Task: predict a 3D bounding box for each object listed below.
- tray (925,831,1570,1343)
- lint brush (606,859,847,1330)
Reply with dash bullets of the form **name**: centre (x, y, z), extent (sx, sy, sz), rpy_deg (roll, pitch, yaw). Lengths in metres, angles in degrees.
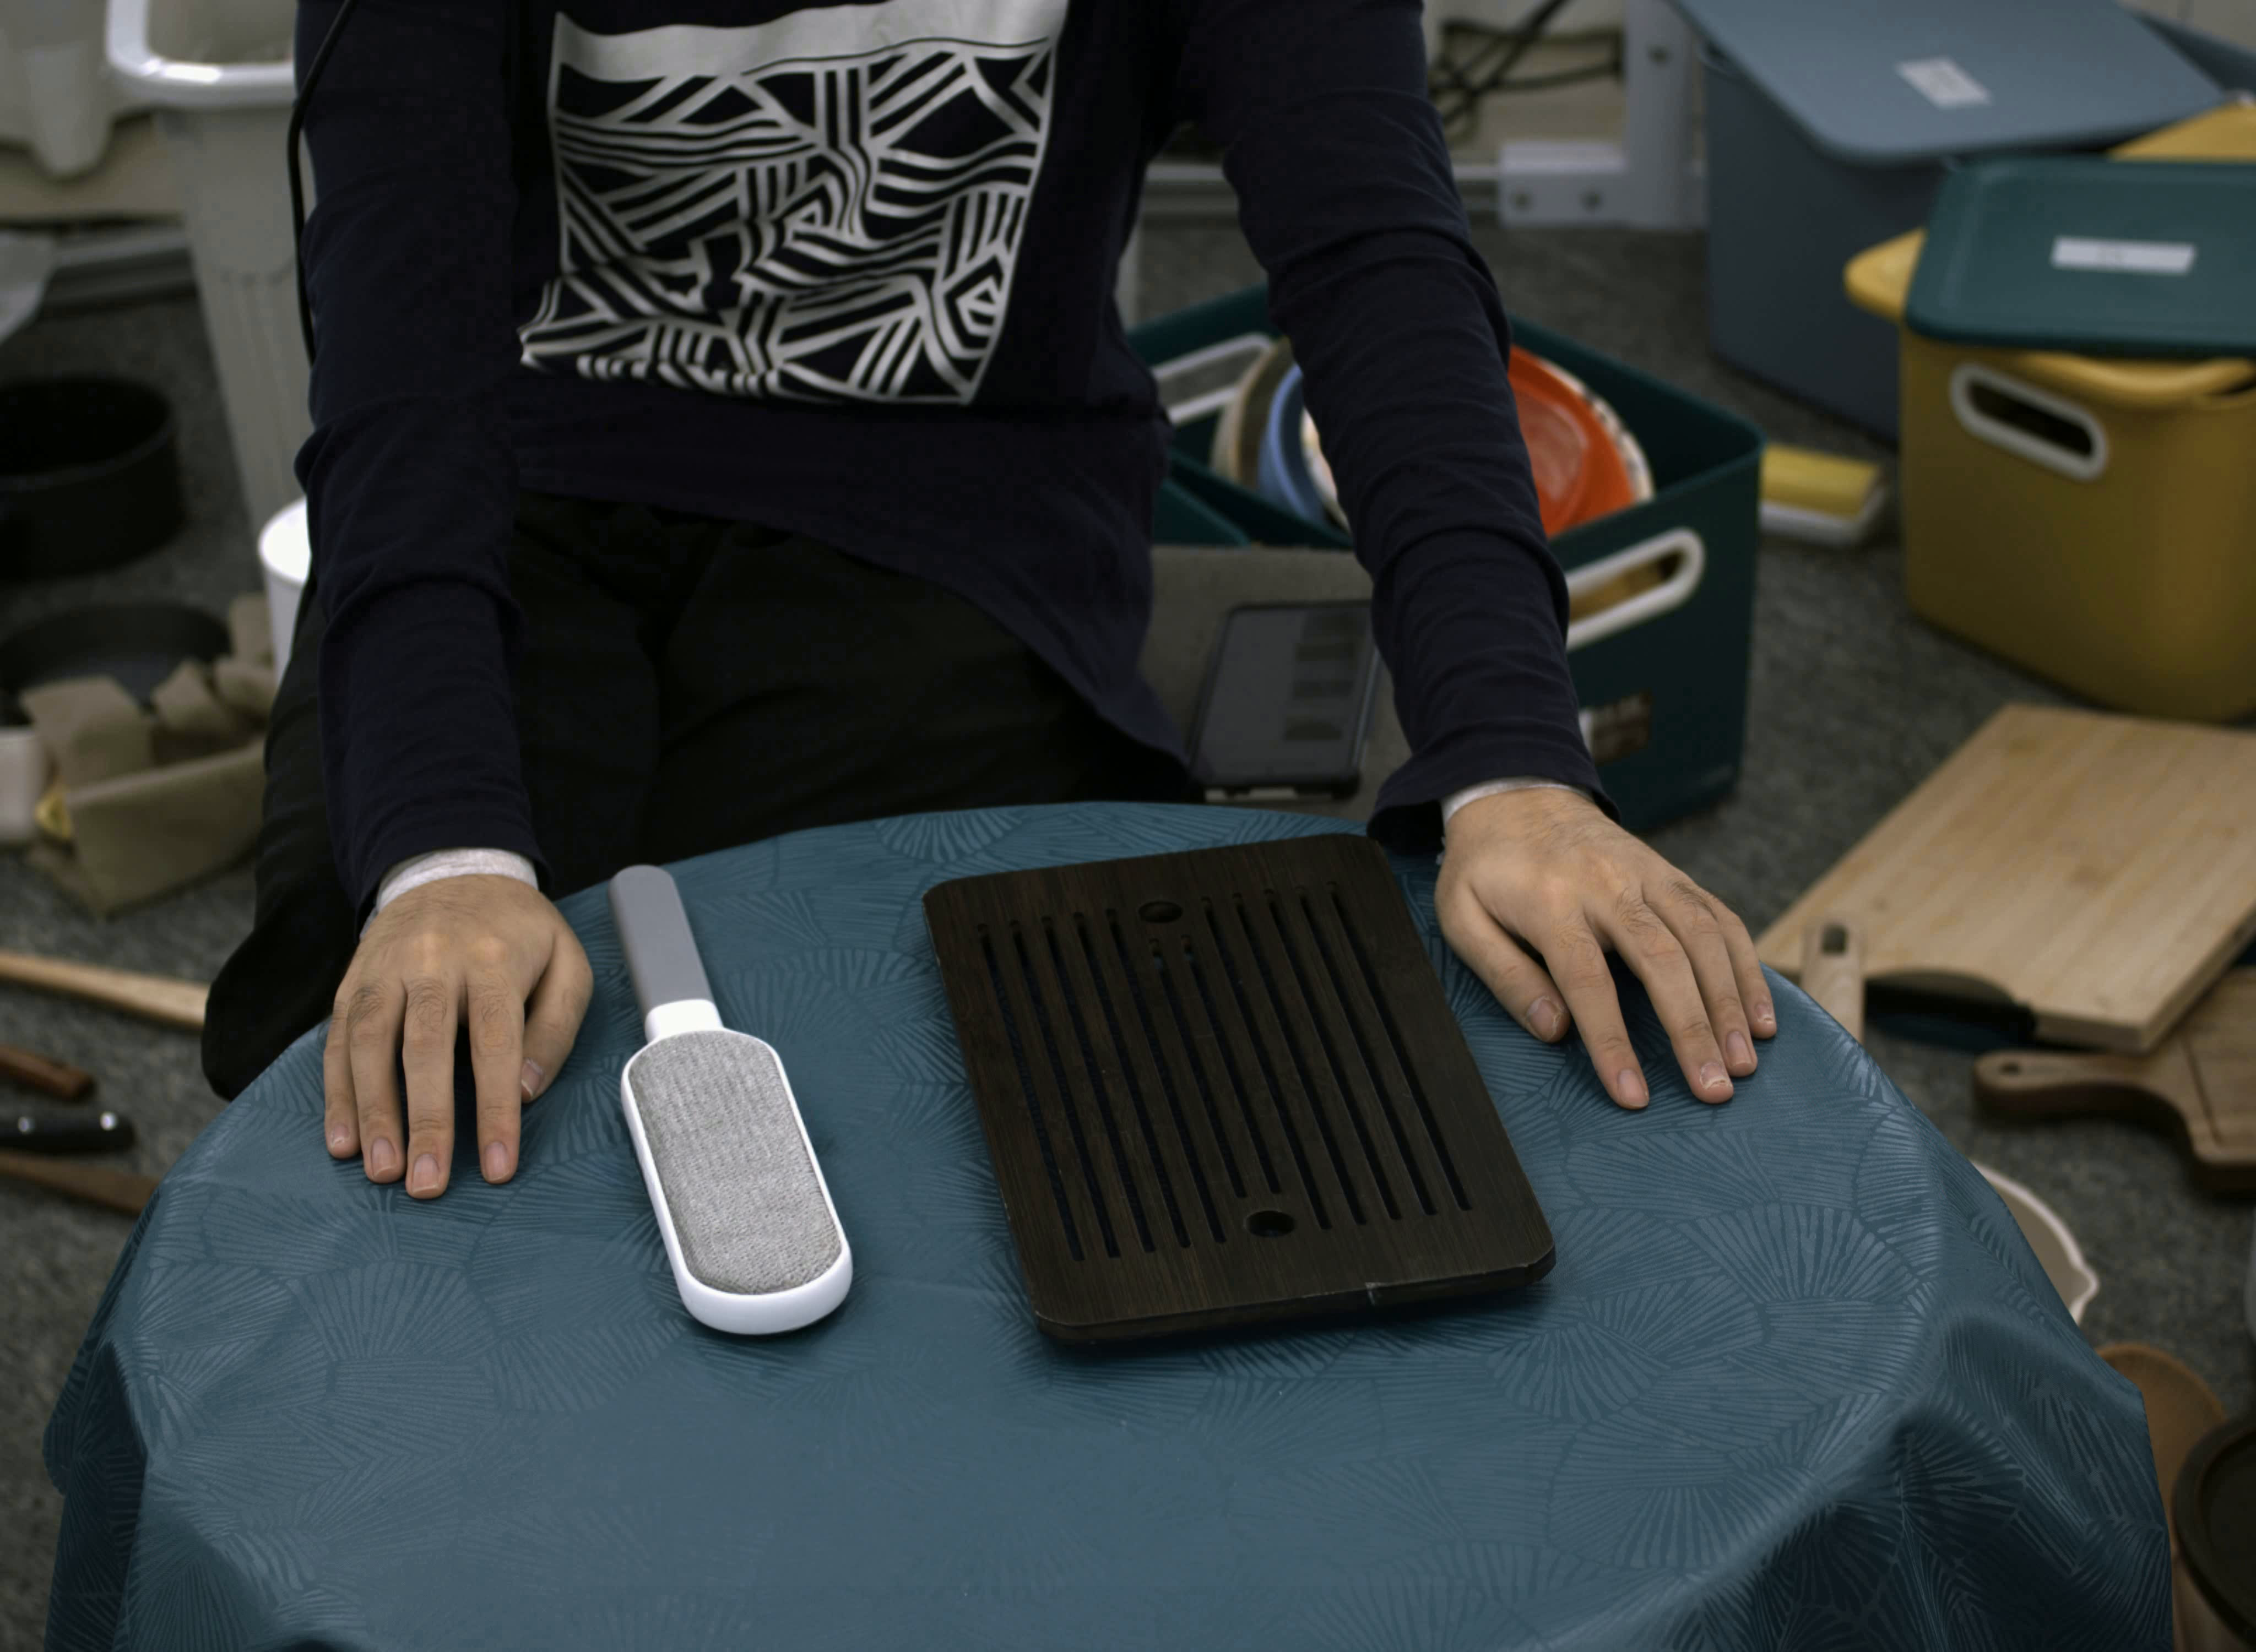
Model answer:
- **tray**: centre (0.034, 0.086, 1.909), extent (0.170, 0.018, 0.309), rpy_deg (-7, 27, -8)
- **lint brush**: centre (-0.144, 0.086, 1.915), extent (0.060, 0.021, 0.312), rpy_deg (-13, 28, -8)
